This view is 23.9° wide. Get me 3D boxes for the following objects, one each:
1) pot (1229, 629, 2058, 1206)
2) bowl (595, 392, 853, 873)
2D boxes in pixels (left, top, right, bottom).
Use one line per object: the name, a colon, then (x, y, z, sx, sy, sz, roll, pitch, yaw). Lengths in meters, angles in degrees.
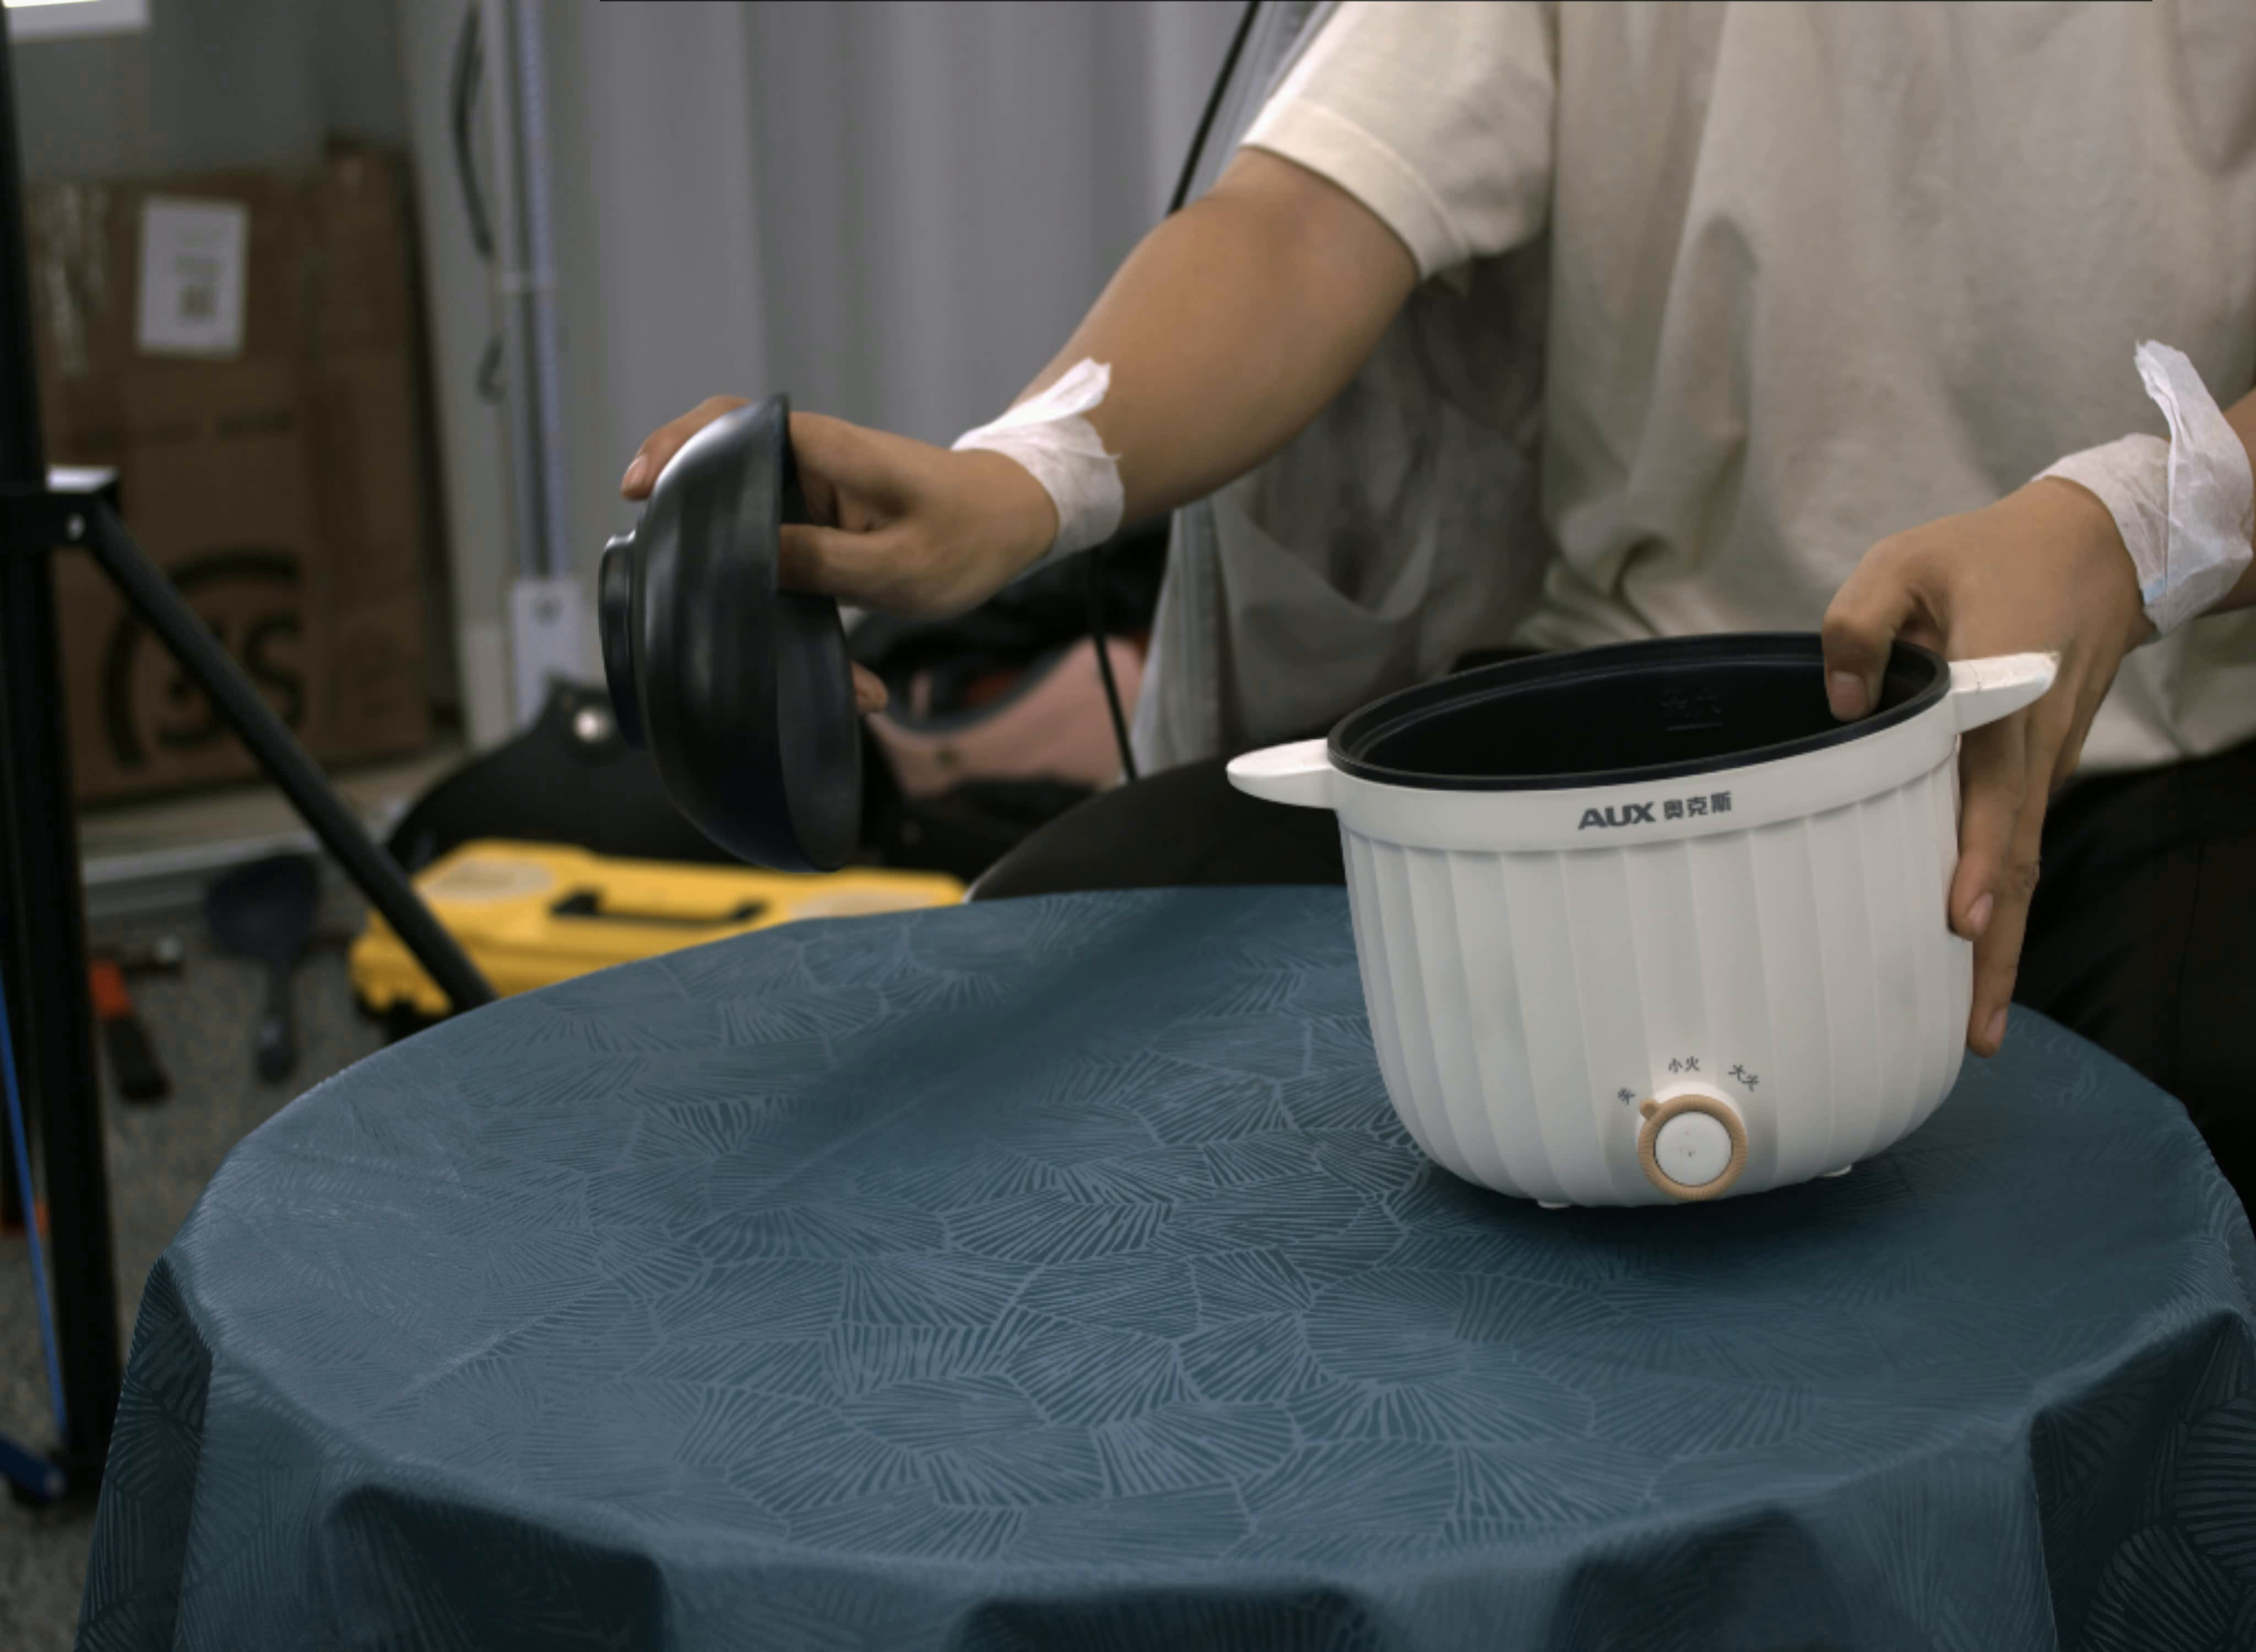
pot: (0.157, 0.029, 1.532, 0.240, 0.143, 0.190, -8, 8, 5)
bowl: (-0.126, -0.060, 1.642, 0.066, 0.136, 0.172, -5, 41, 5)
